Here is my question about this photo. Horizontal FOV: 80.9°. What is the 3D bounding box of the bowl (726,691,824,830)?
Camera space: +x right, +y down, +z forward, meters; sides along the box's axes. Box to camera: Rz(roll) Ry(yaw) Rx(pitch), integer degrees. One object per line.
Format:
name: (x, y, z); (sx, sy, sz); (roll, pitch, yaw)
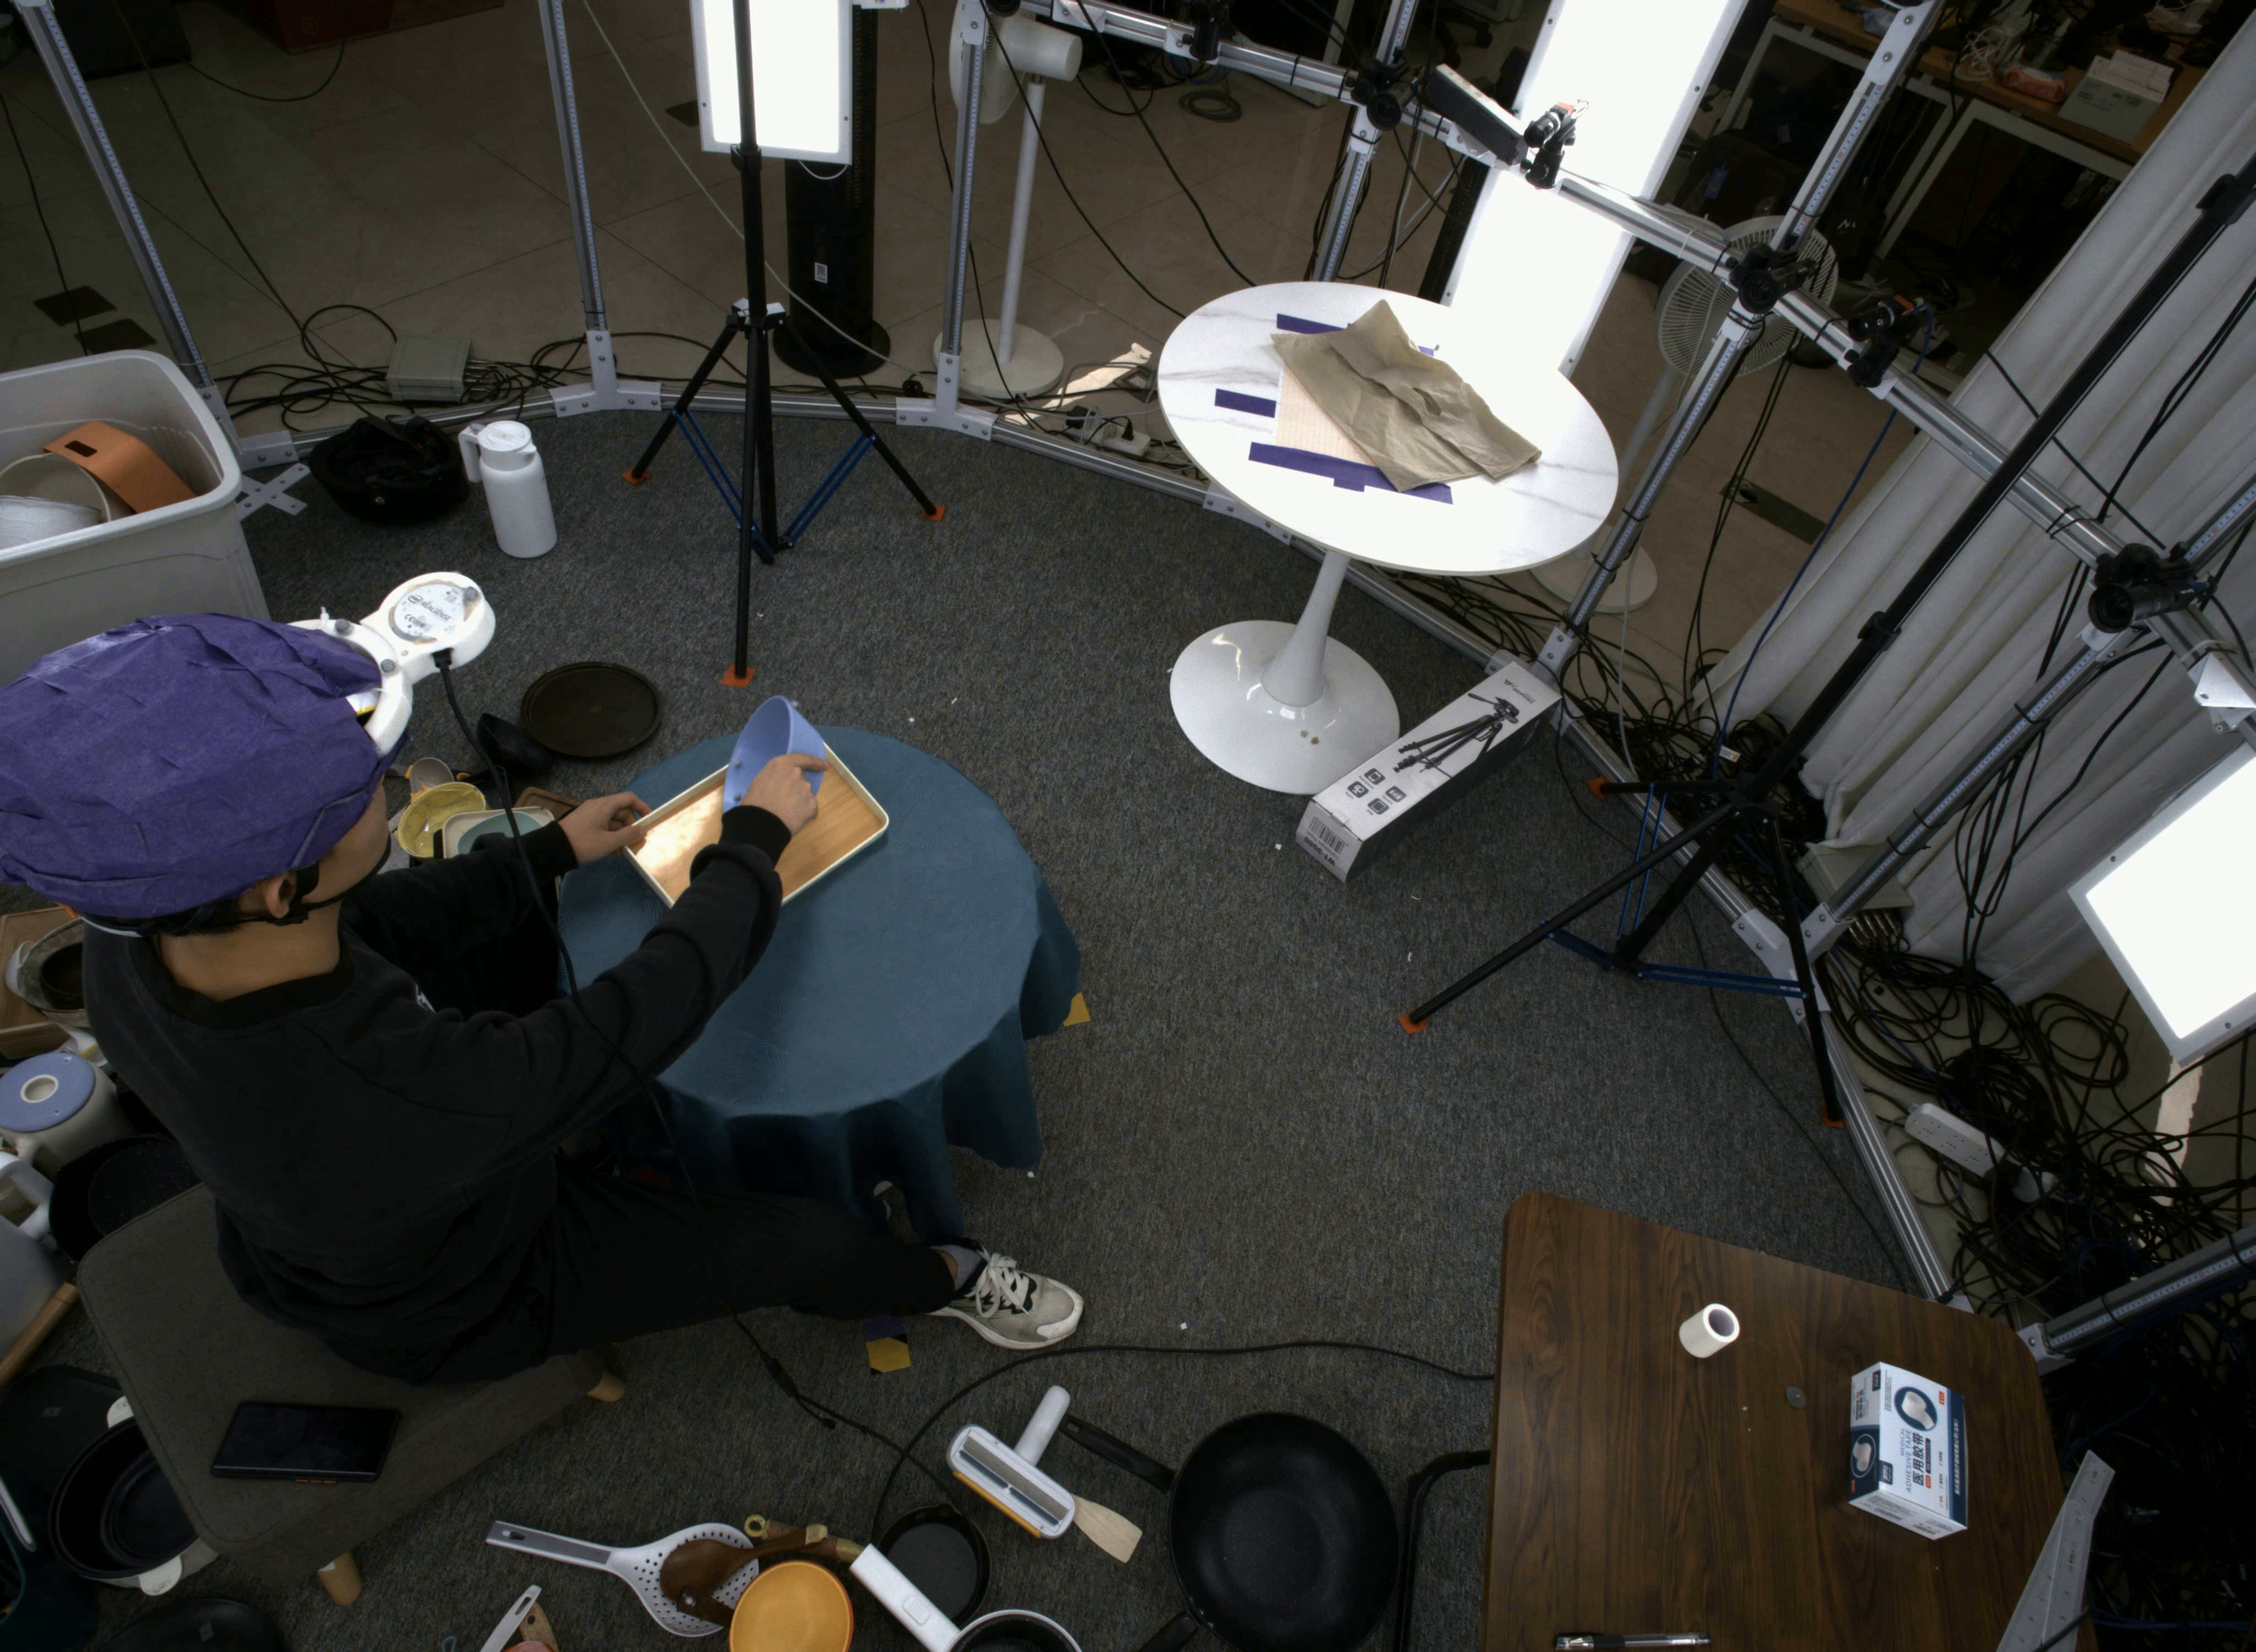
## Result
bowl: (-0.435, -0.073, 1.615); (0.072, 0.175, 0.172); (19, 44, -36)

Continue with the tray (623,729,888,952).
tray: (-0.475, 0.007, 1.663); (0.191, 0.027, 0.300); (49, 56, 2)
